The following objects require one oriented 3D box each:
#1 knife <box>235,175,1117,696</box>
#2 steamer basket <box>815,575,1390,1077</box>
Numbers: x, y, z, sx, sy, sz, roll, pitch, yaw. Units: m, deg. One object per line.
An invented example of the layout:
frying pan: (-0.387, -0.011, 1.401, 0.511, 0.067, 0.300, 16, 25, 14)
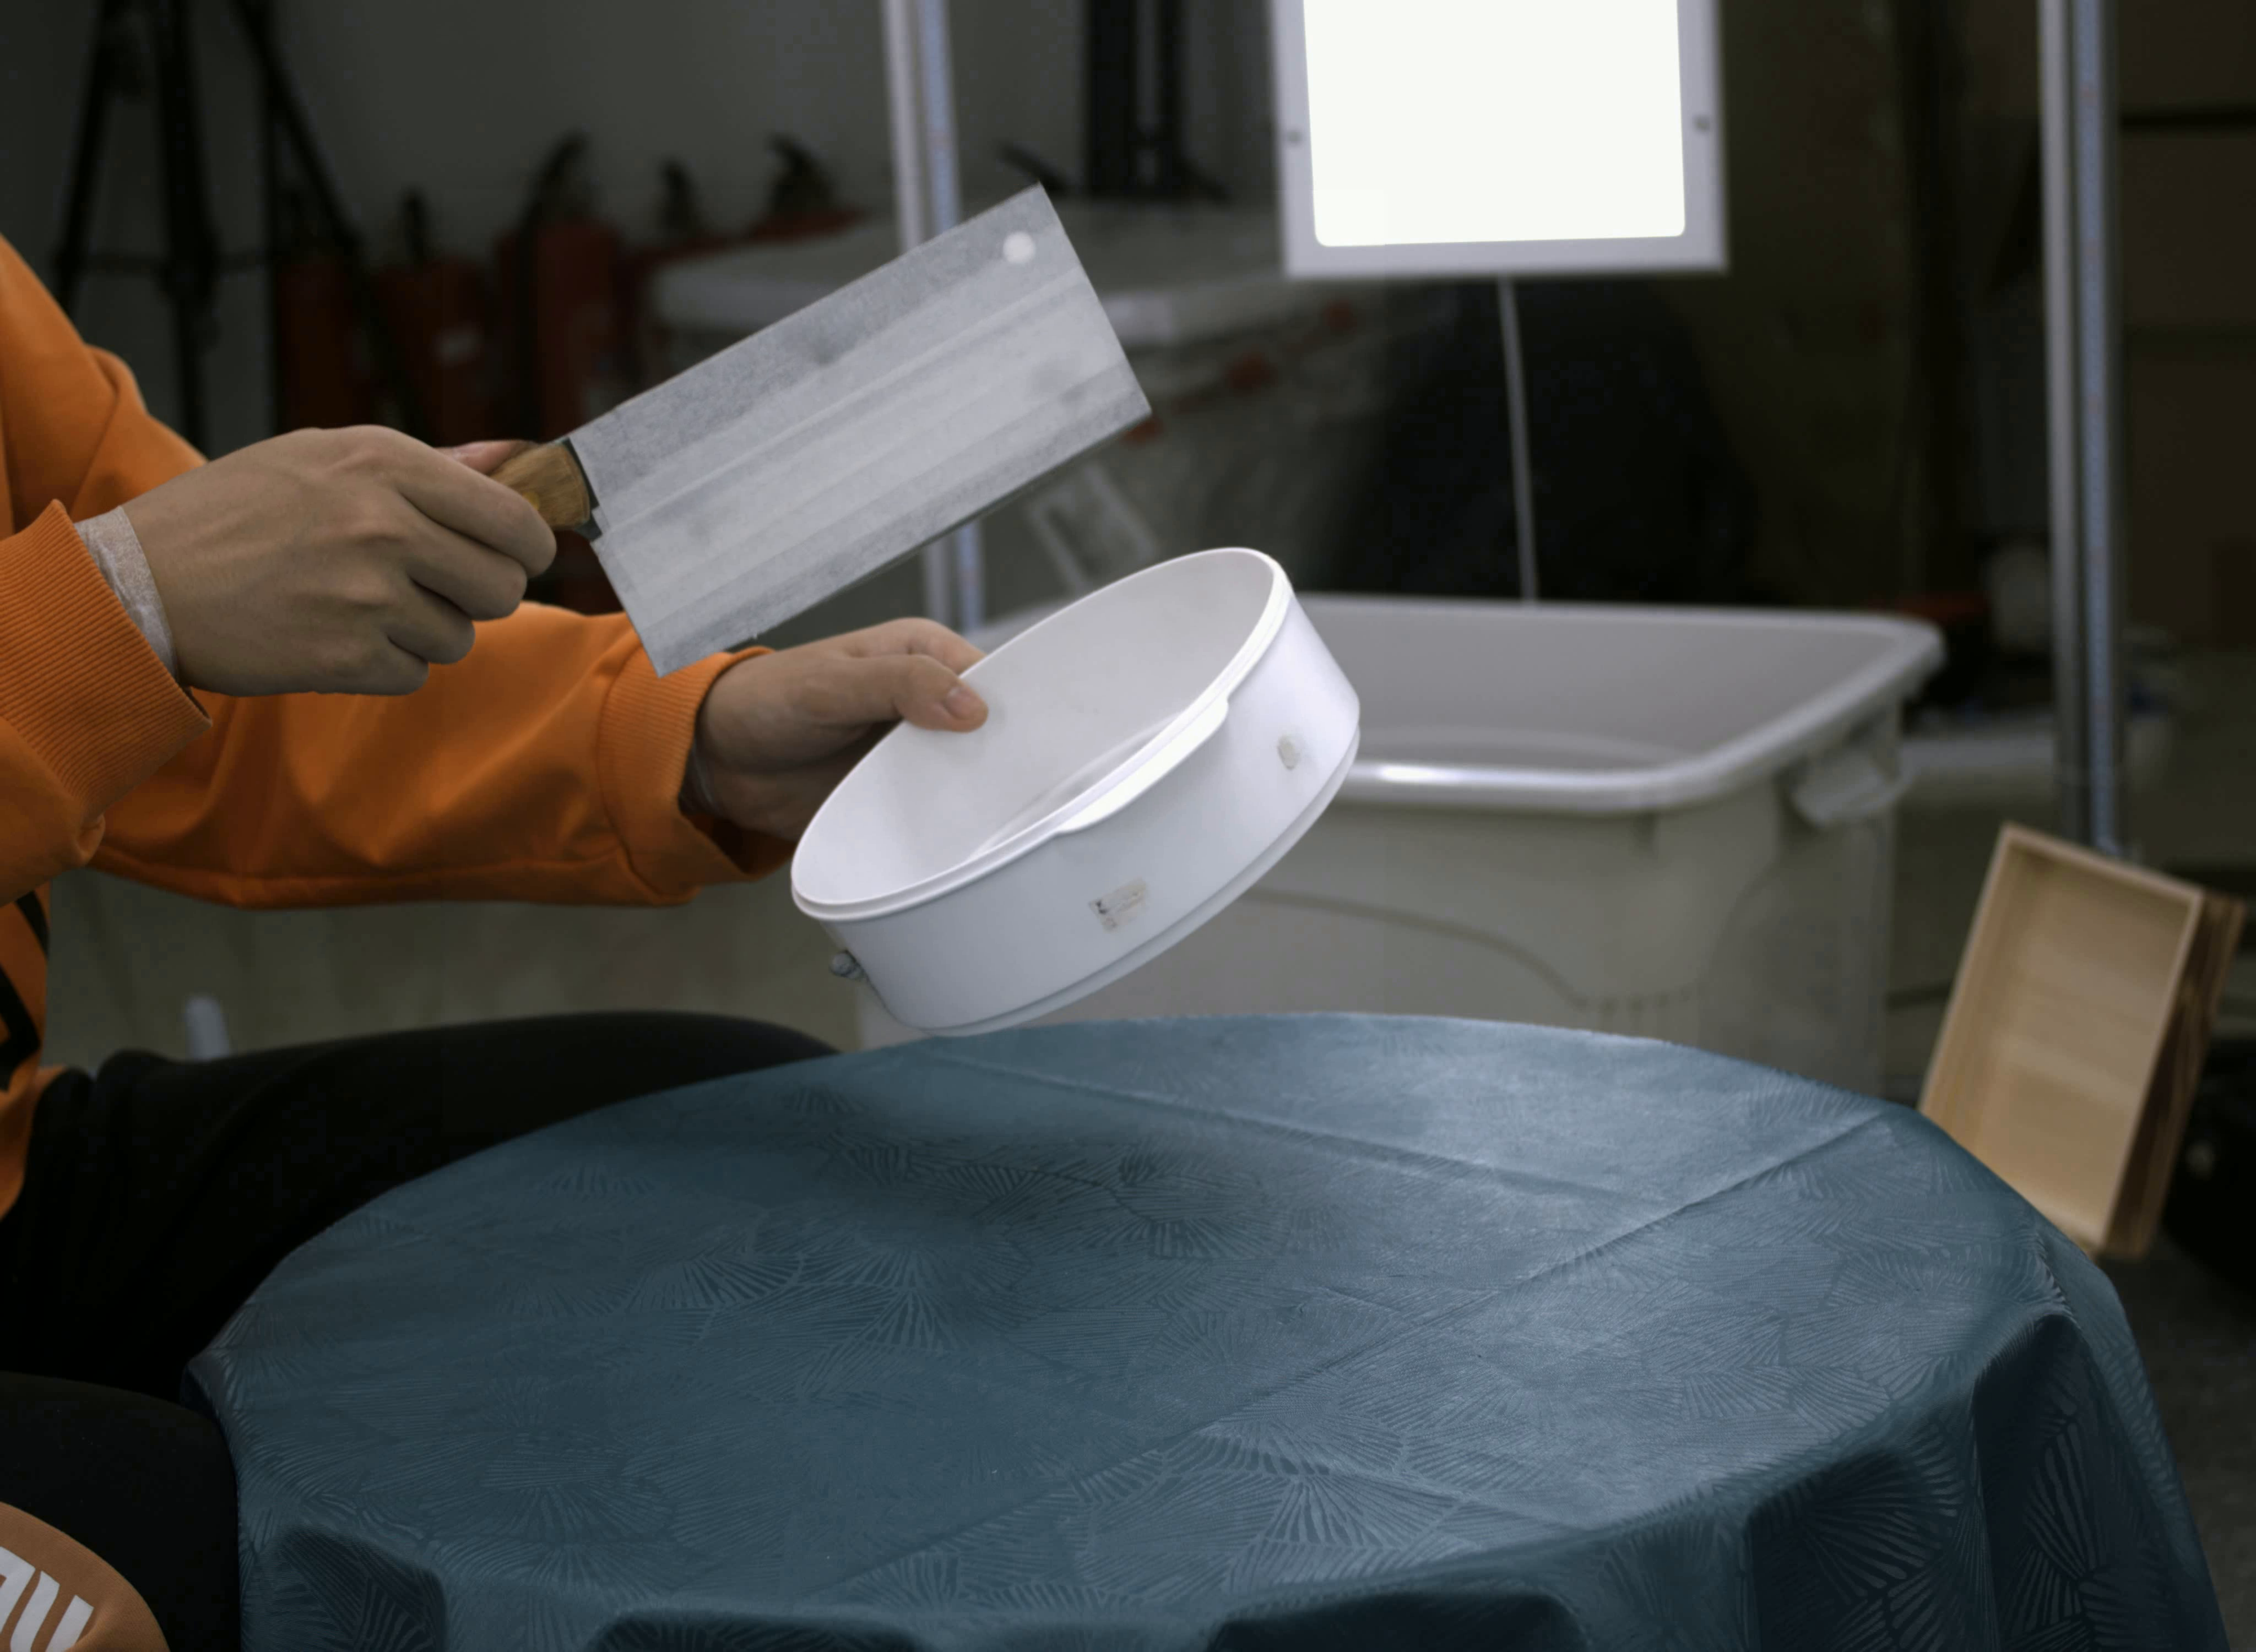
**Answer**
knife: (-0.144, -0.108, 1.827, 0.304, 0.092, 0.021, -29, 19, -3)
steamer basket: (-0.006, 0.001, 1.858, 0.200, 0.069, 0.234, -39, 23, -12)
